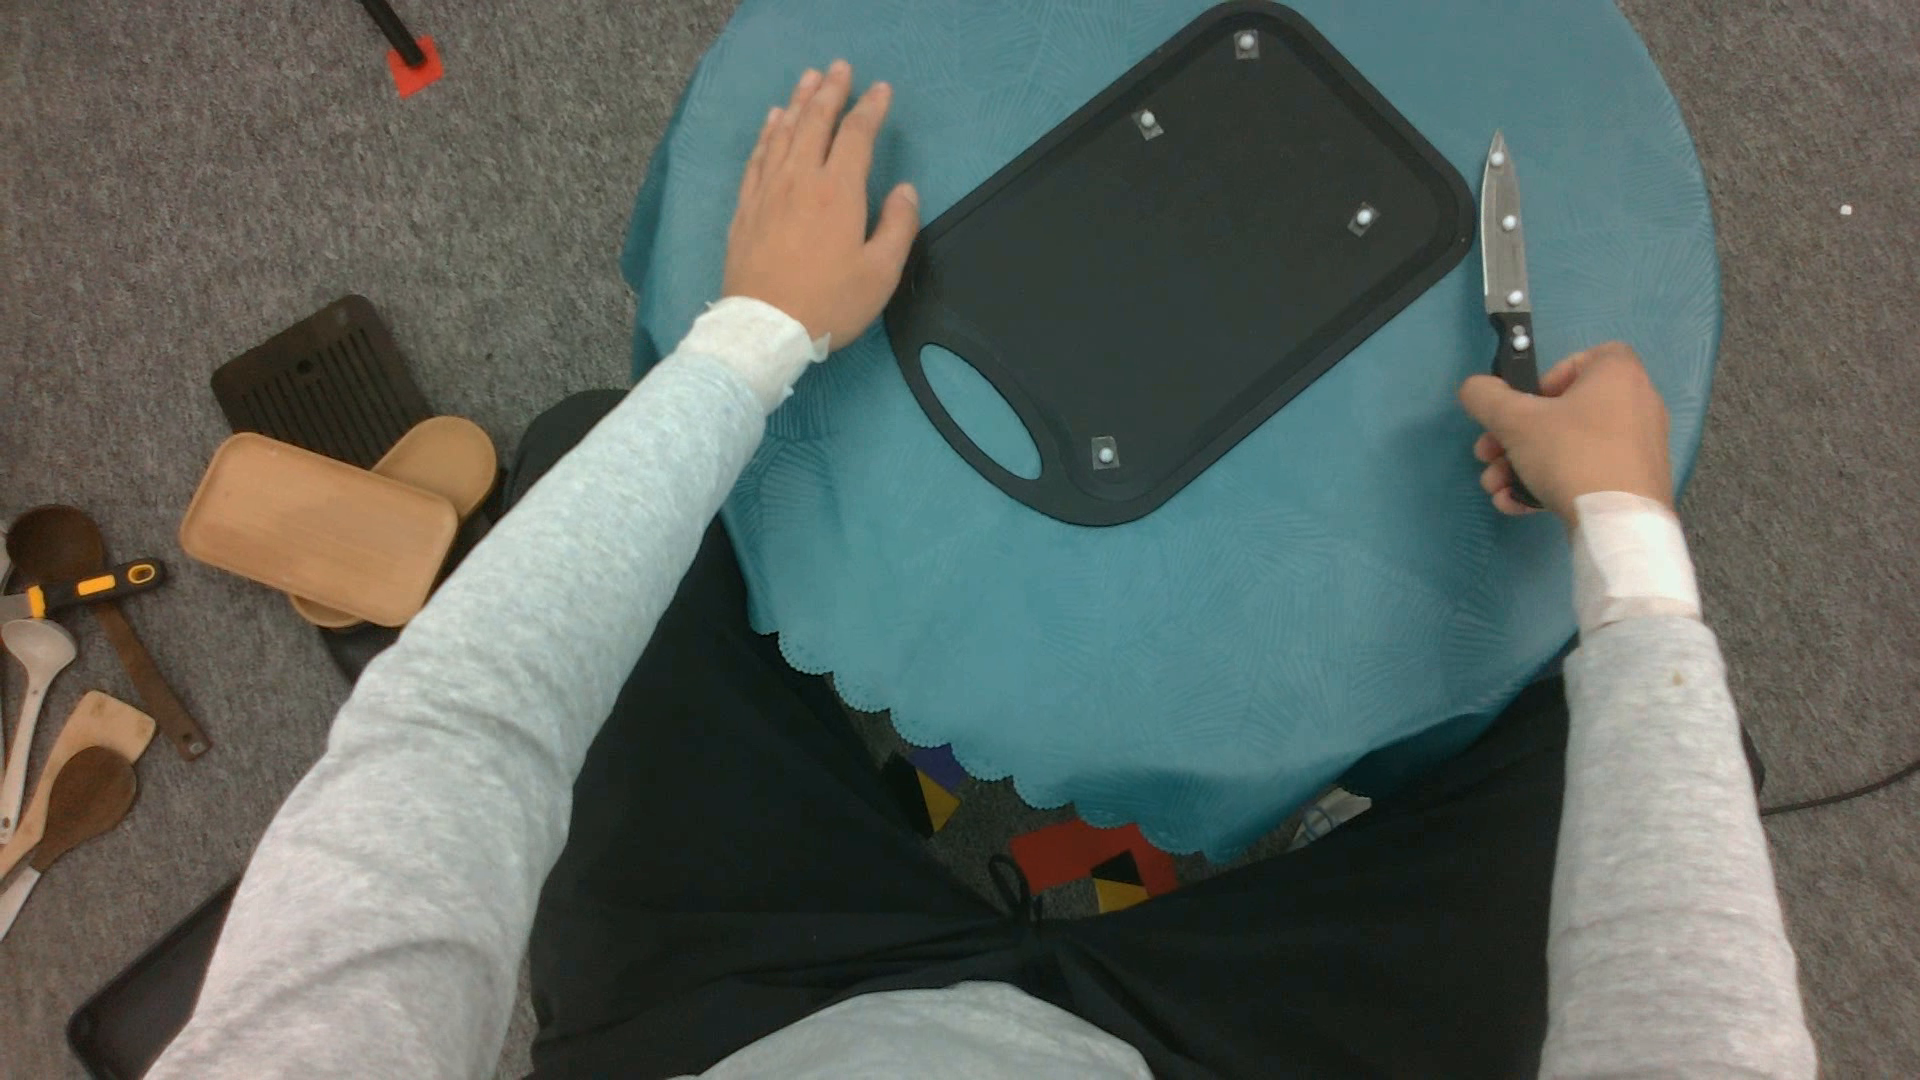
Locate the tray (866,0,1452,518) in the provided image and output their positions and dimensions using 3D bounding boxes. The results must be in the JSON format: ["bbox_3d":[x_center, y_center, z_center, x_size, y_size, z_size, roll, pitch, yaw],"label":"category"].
[{"bbox_3d":[0.107,-0.162,0.775,0.326,0.010,0.211,-39,79,-8],"label":"tray"}]

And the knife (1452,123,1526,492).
[{"bbox_3d":[0.286,-0.134,0.747,0.024,0.016,0.239,1,65,7],"label":"knife"}]
